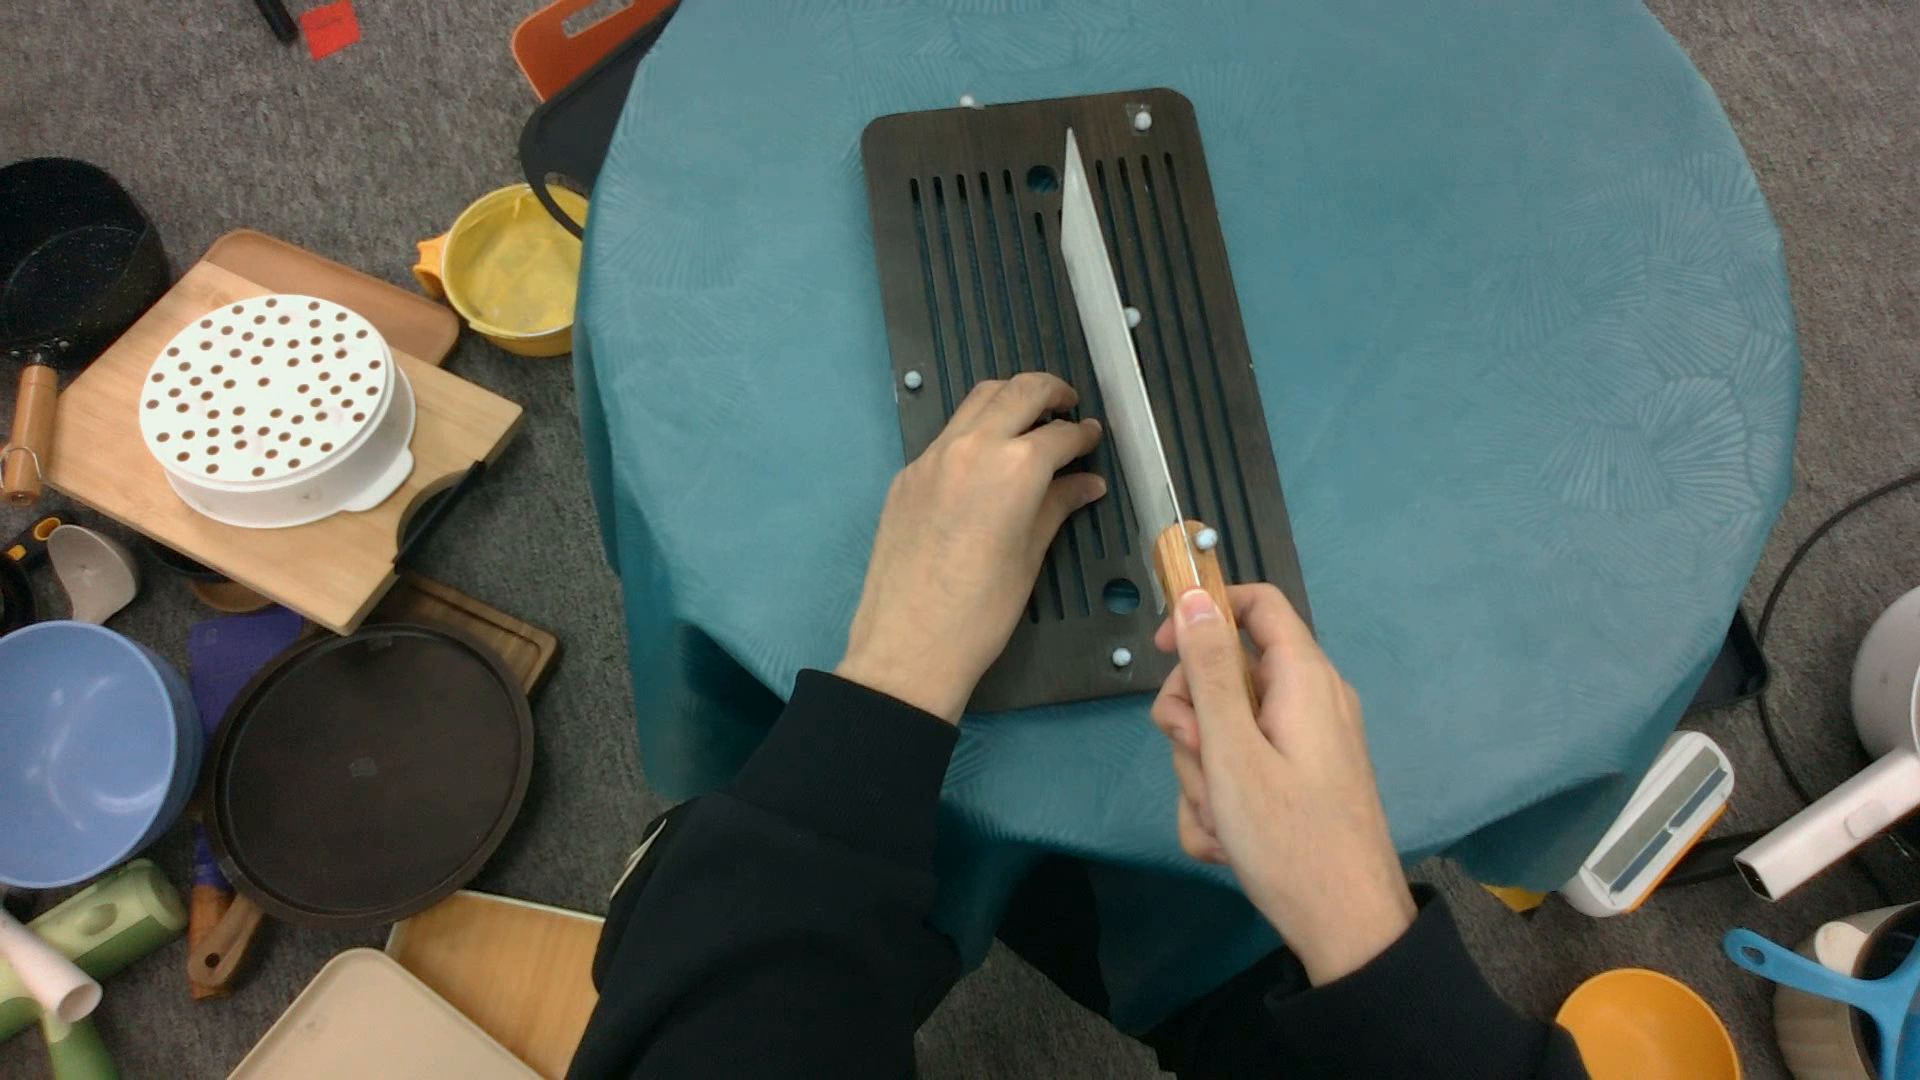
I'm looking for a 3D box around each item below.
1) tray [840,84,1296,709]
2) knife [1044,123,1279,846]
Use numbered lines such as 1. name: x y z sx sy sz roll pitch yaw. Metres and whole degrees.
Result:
1. tray: 0.044 -0.078 0.649 0.170 0.018 0.306 -7 72 -6
2. knife: 0.071 -0.024 0.558 0.021 0.092 0.306 -11 69 -4
